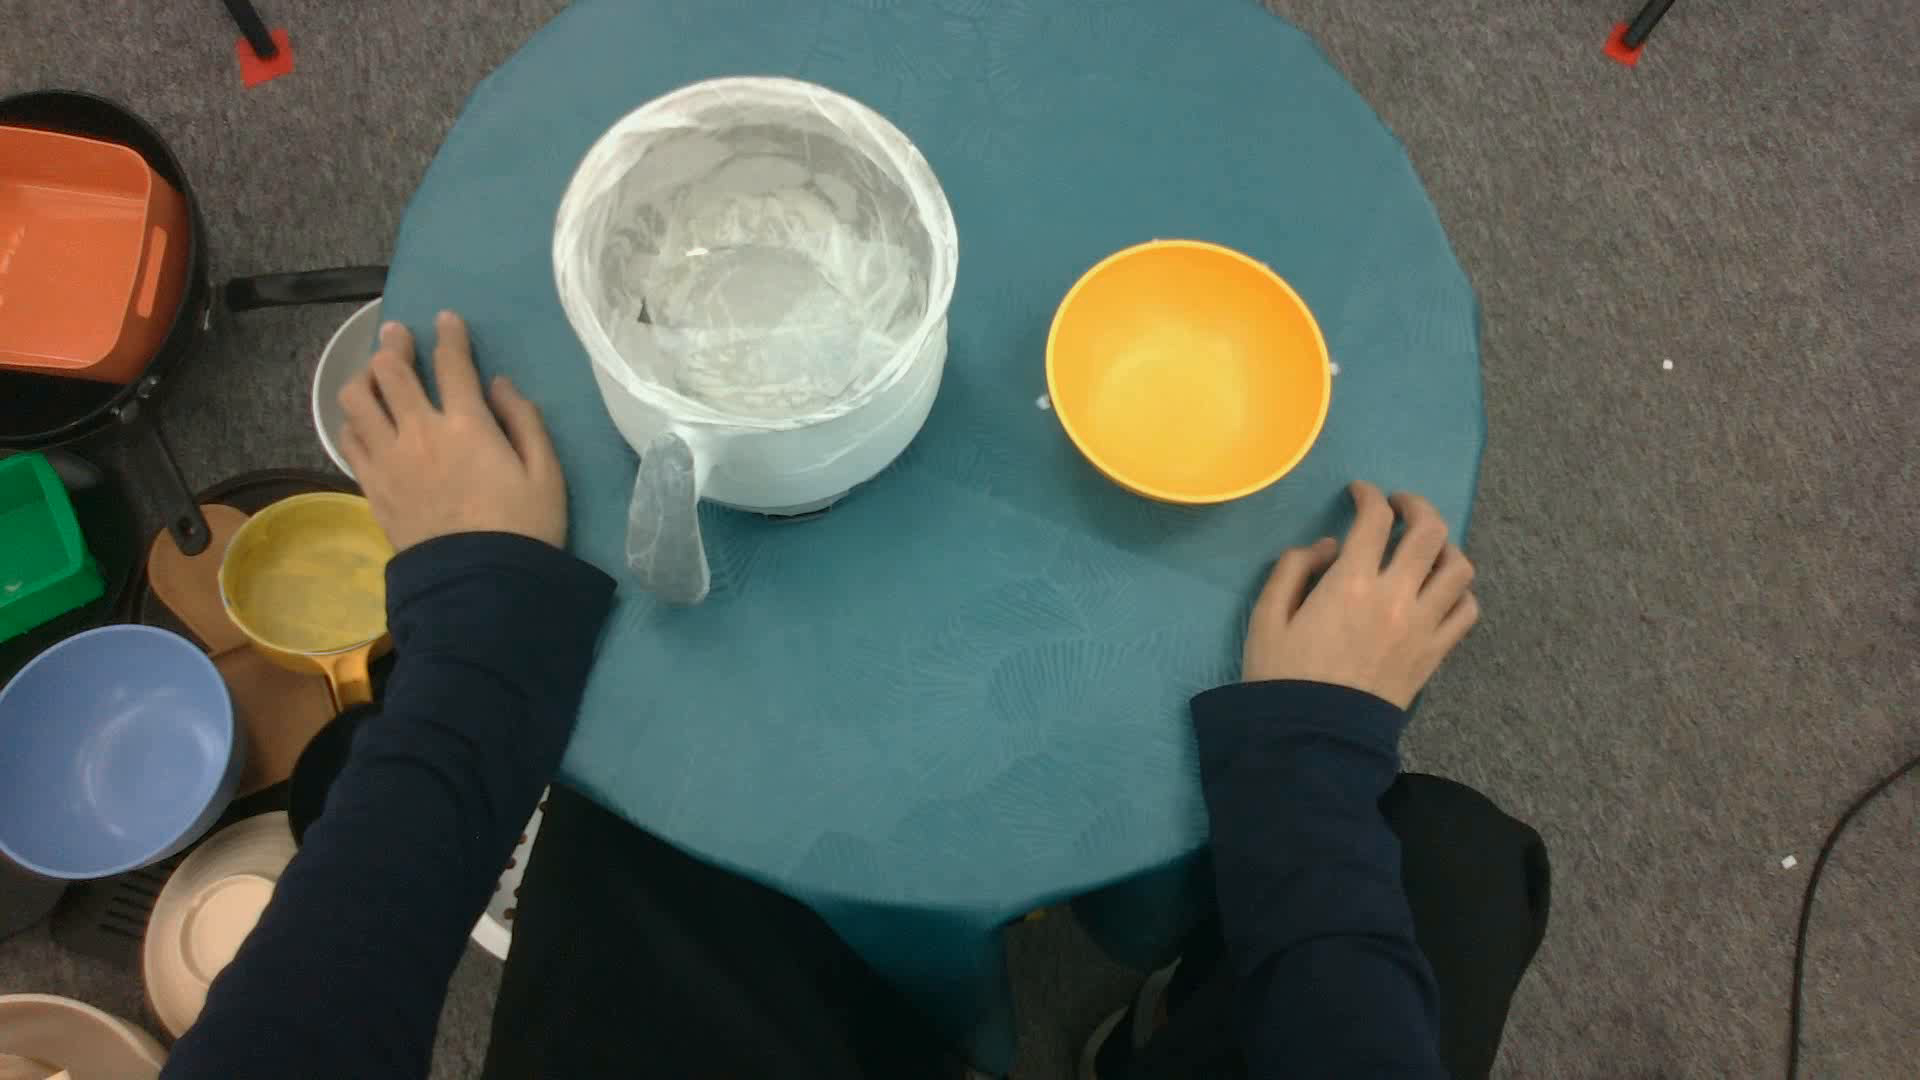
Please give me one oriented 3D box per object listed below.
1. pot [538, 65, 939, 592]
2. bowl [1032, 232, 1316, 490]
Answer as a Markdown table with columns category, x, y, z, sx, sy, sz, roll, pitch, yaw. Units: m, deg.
| category | x | y | z | sx | sy | sz | roll | pitch | yaw |
| --- | --- | --- | --- | --- | --- | --- | --- | --- | --- |
| pot | -0.111 | -0.092 | 0.664 | 0.179 | 0.136 | 0.234 | 19 | 73 | 1 |
| bowl | 0.106 | -0.085 | 0.719 | 0.145 | 0.060 | 0.146 | 1 | 70 | -4 |
